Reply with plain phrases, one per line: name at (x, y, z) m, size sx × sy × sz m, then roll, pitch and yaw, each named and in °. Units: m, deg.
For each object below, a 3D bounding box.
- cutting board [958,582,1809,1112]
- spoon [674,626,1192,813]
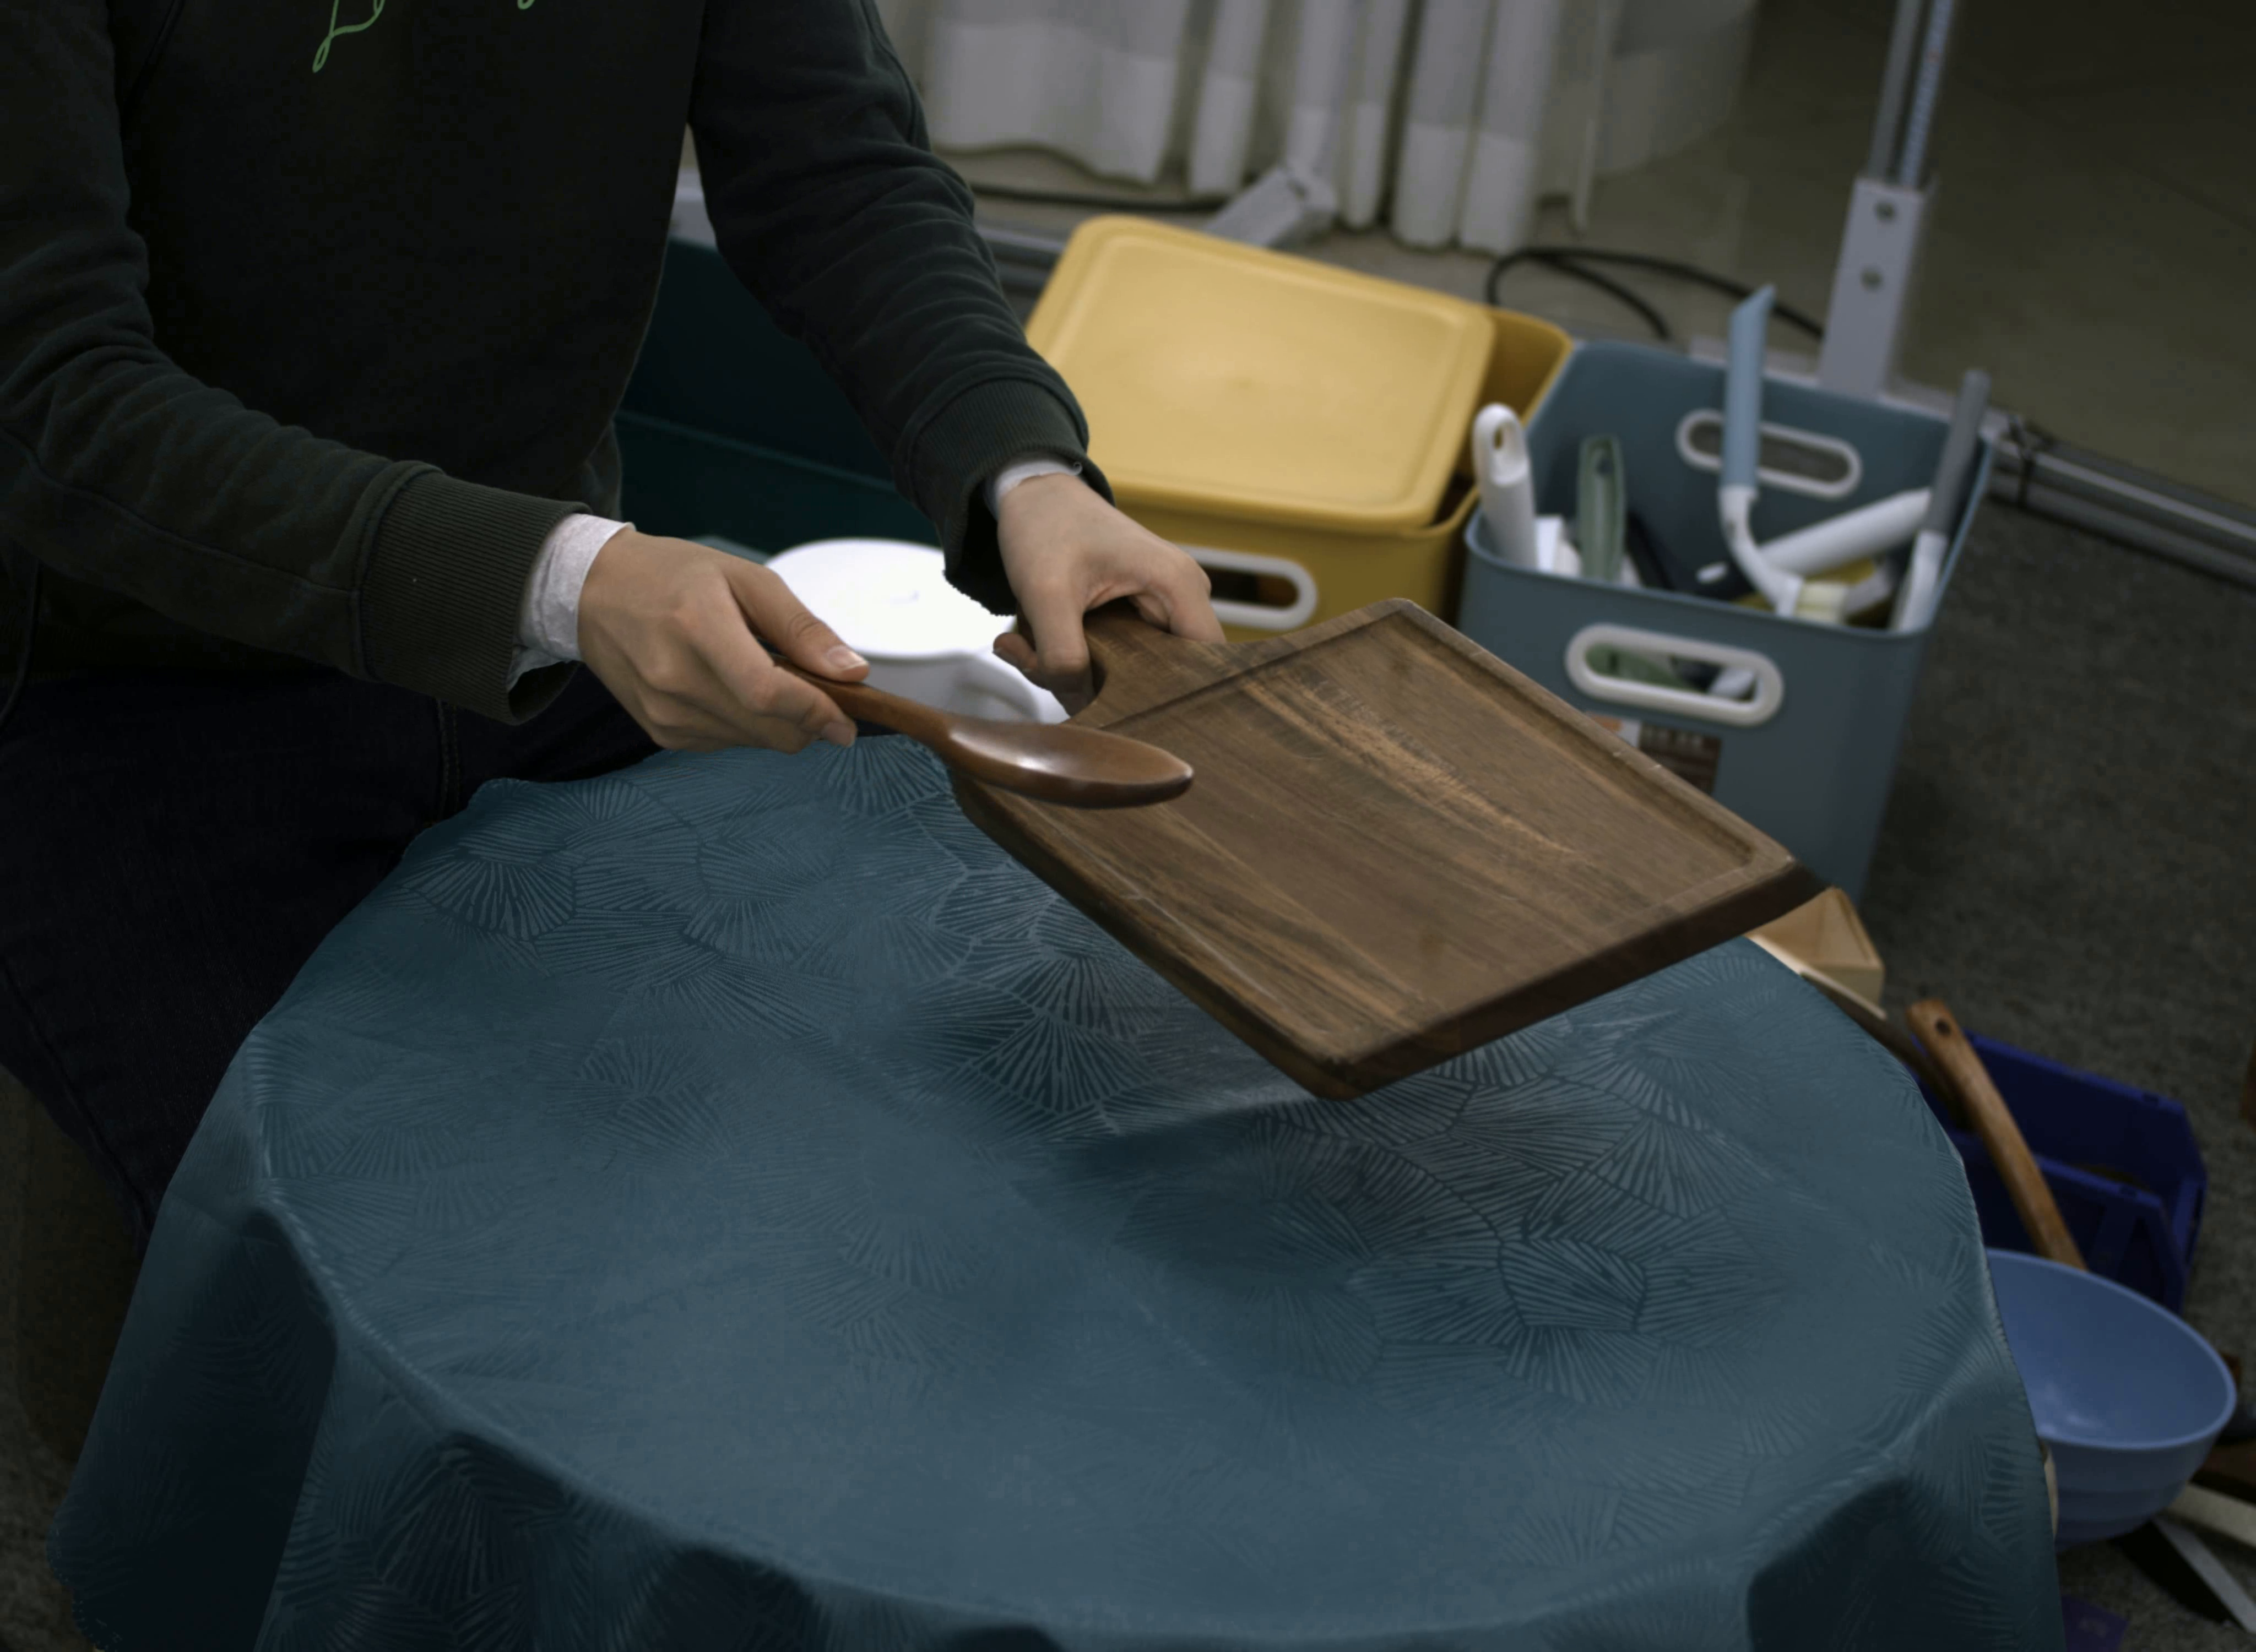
cutting board at (0.059, -0.015, 1.883) m, size 0.200 × 0.023 × 0.355 m, roll -23°, pitch 33°, yaw -23°
spoon at (-0.071, -0.035, 1.803) m, size 0.217 × 0.017 × 0.075 m, roll 19°, pitch 20°, yaw 35°
